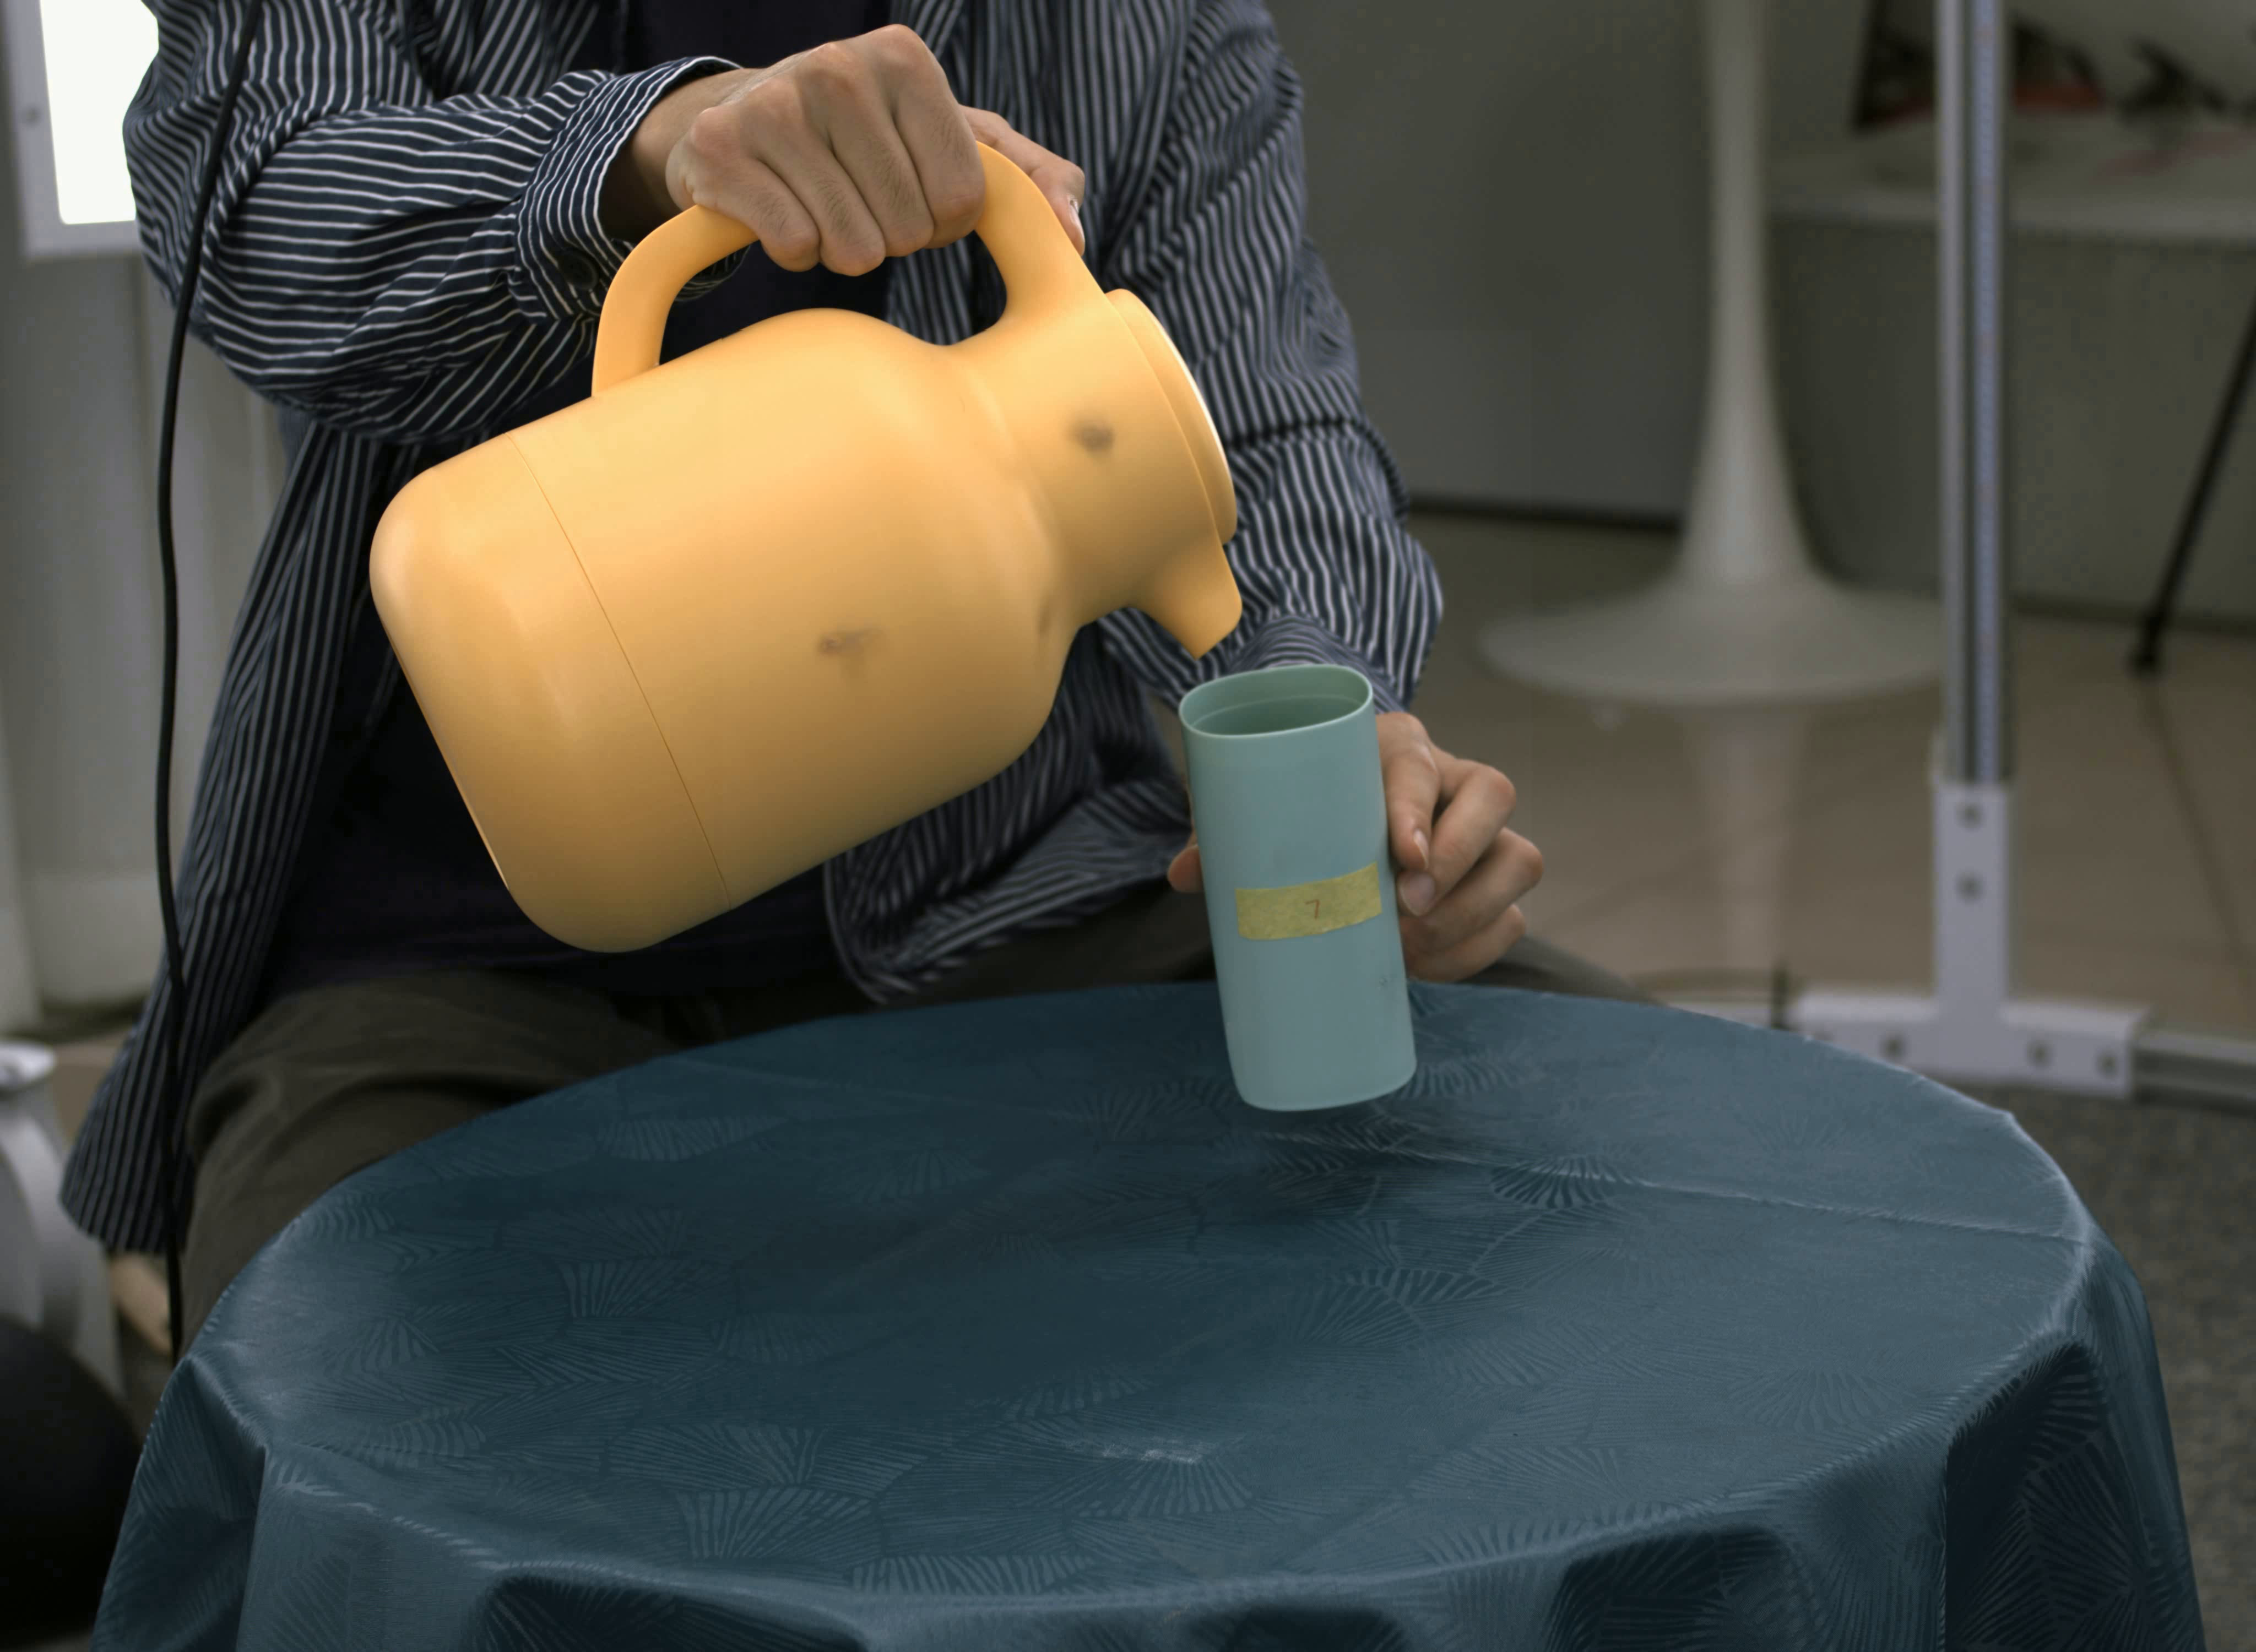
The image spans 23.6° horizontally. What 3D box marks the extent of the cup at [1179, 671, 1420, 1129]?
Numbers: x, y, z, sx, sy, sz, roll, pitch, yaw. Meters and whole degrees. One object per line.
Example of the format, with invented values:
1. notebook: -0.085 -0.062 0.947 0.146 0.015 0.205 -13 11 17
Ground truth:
1. cup: 0.056 0.023 1.724 0.066 0.133 0.067 -8 19 2

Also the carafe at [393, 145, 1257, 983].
1. carafe: -0.098 -0.087 1.681 0.257 0.204 0.164 -25 0 -7
